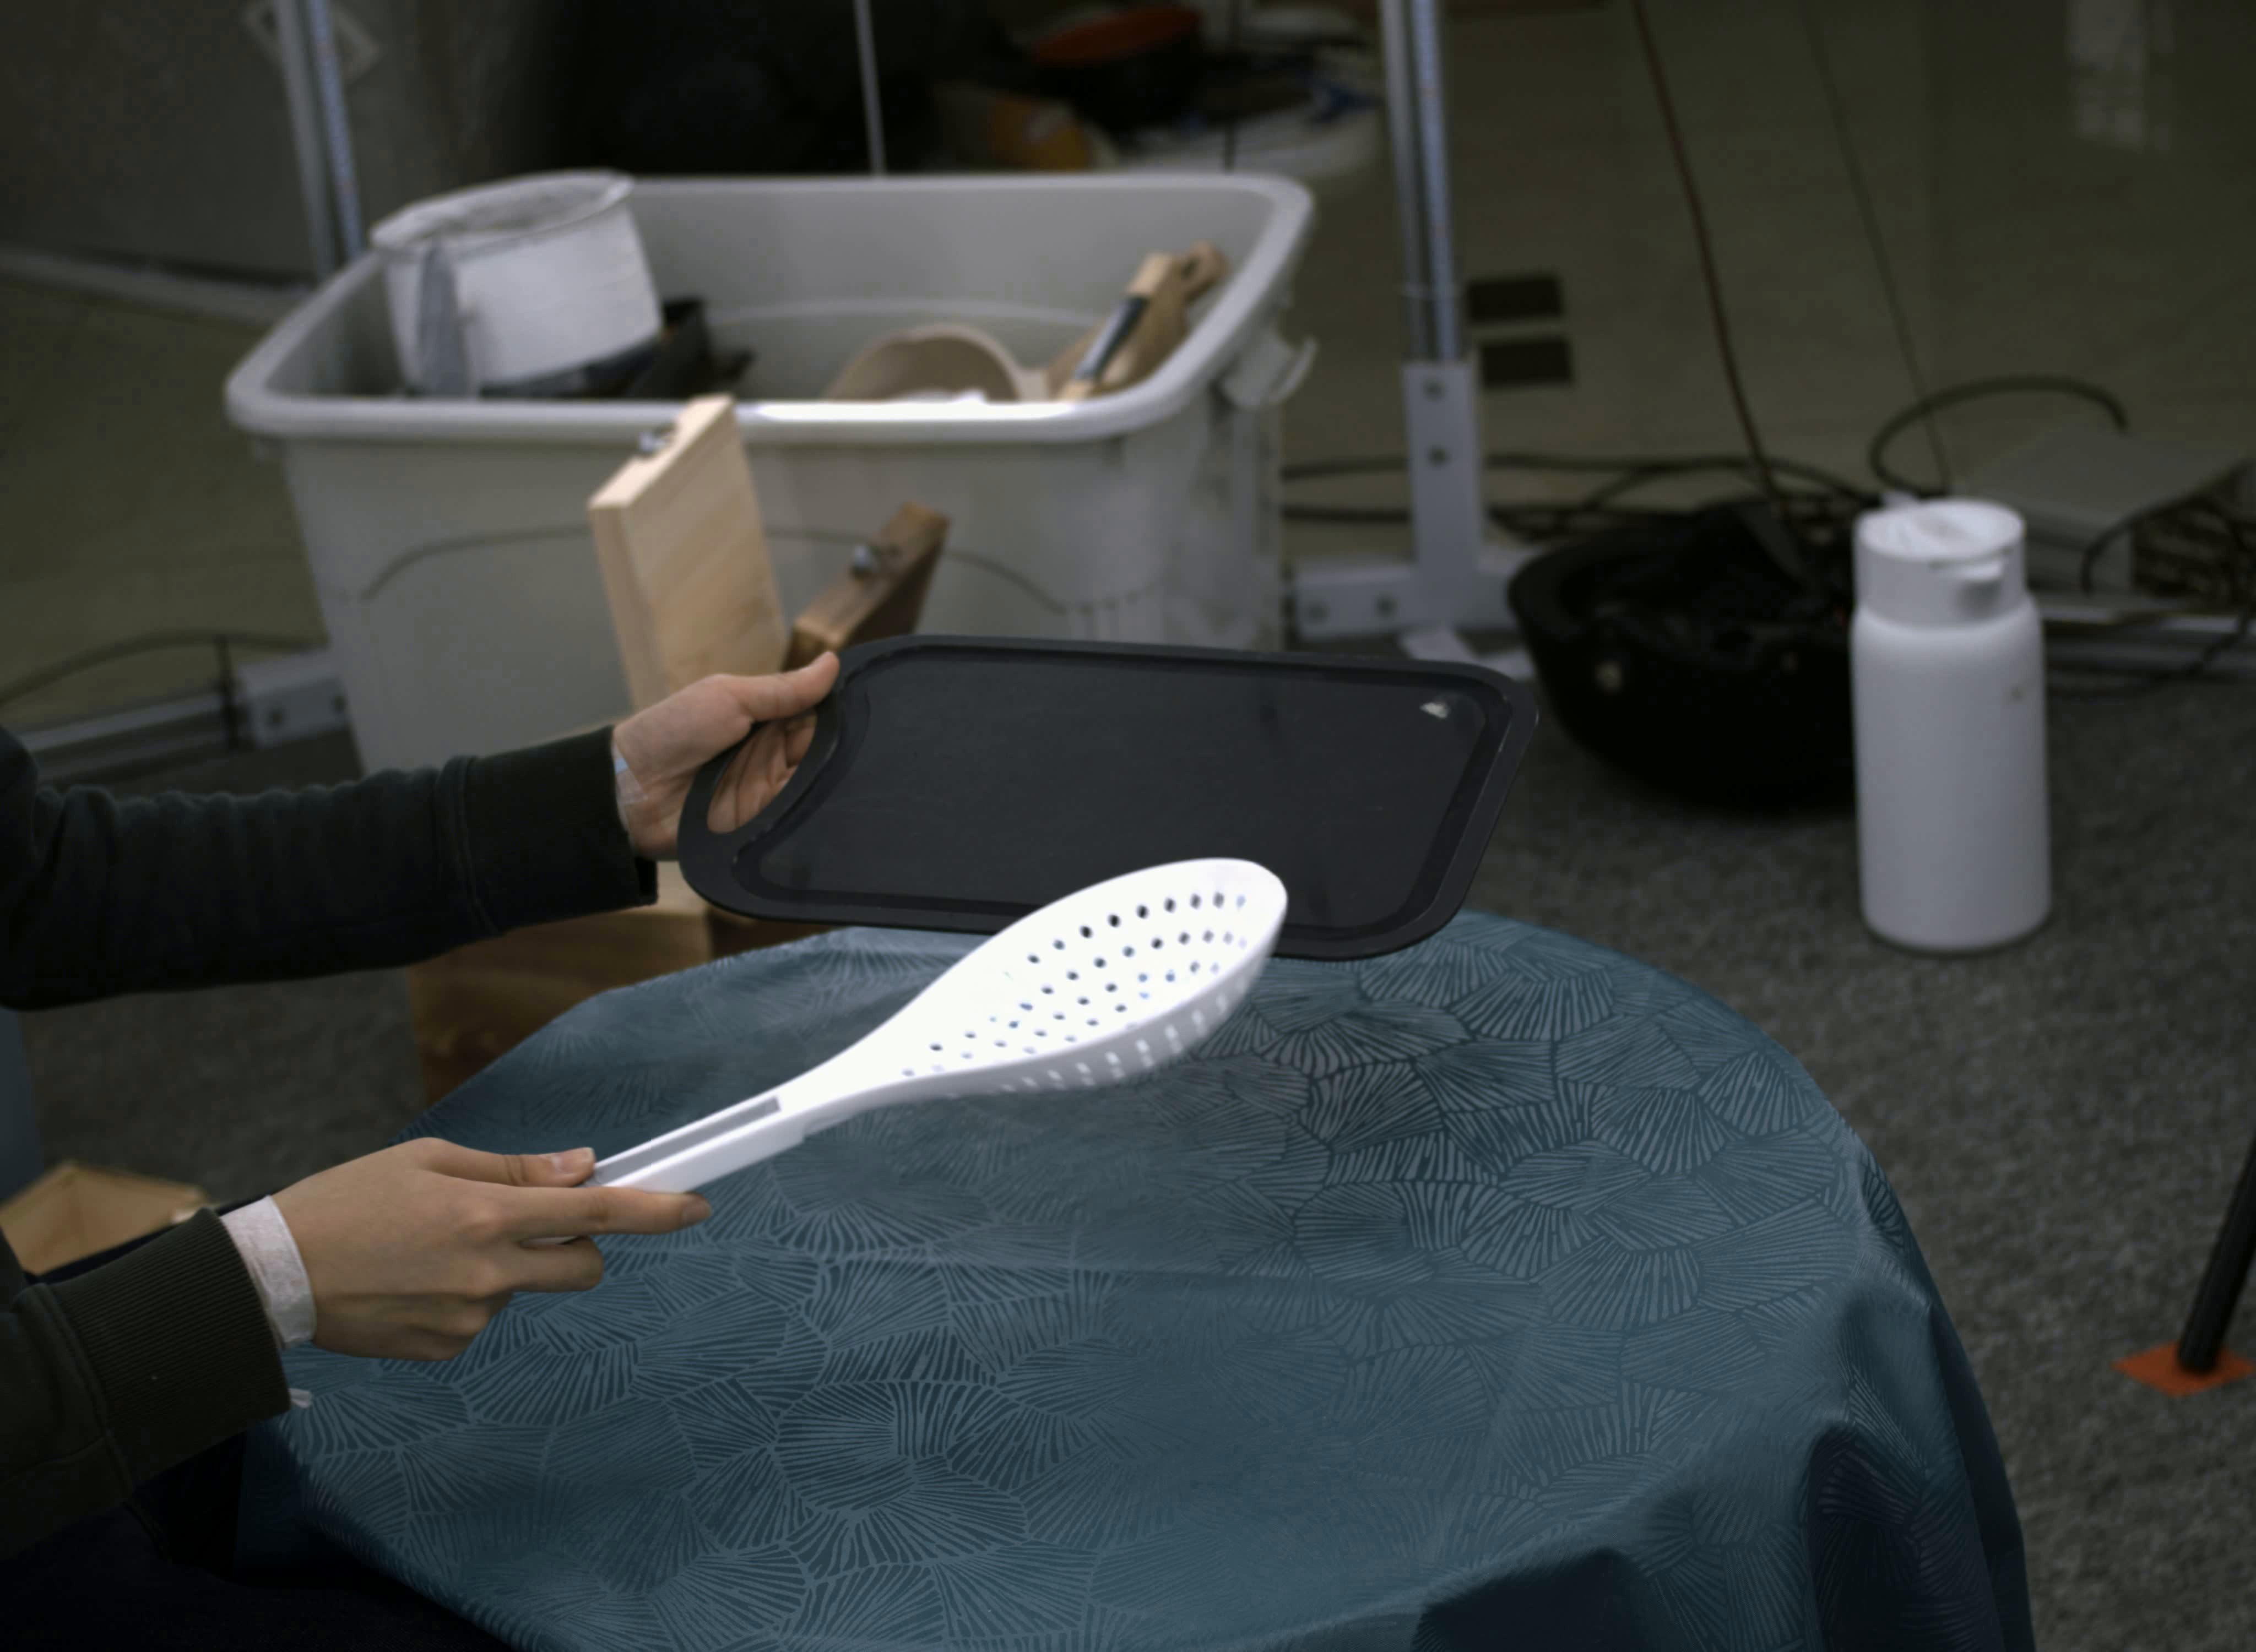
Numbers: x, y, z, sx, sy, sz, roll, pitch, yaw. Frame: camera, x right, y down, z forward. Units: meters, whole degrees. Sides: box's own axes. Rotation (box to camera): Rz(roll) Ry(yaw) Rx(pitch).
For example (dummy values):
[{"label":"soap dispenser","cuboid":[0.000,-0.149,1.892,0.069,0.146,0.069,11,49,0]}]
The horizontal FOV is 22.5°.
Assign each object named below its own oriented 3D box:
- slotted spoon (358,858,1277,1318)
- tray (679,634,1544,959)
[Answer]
[{"label":"slotted spoon","cuboid":[-0.107,0.094,1.986,0.349,0.046,0.134,-19,18,-3]},{"label":"tray","cuboid":[-0.013,-0.015,2.187,0.324,0.010,0.208,4,34,18]}]
